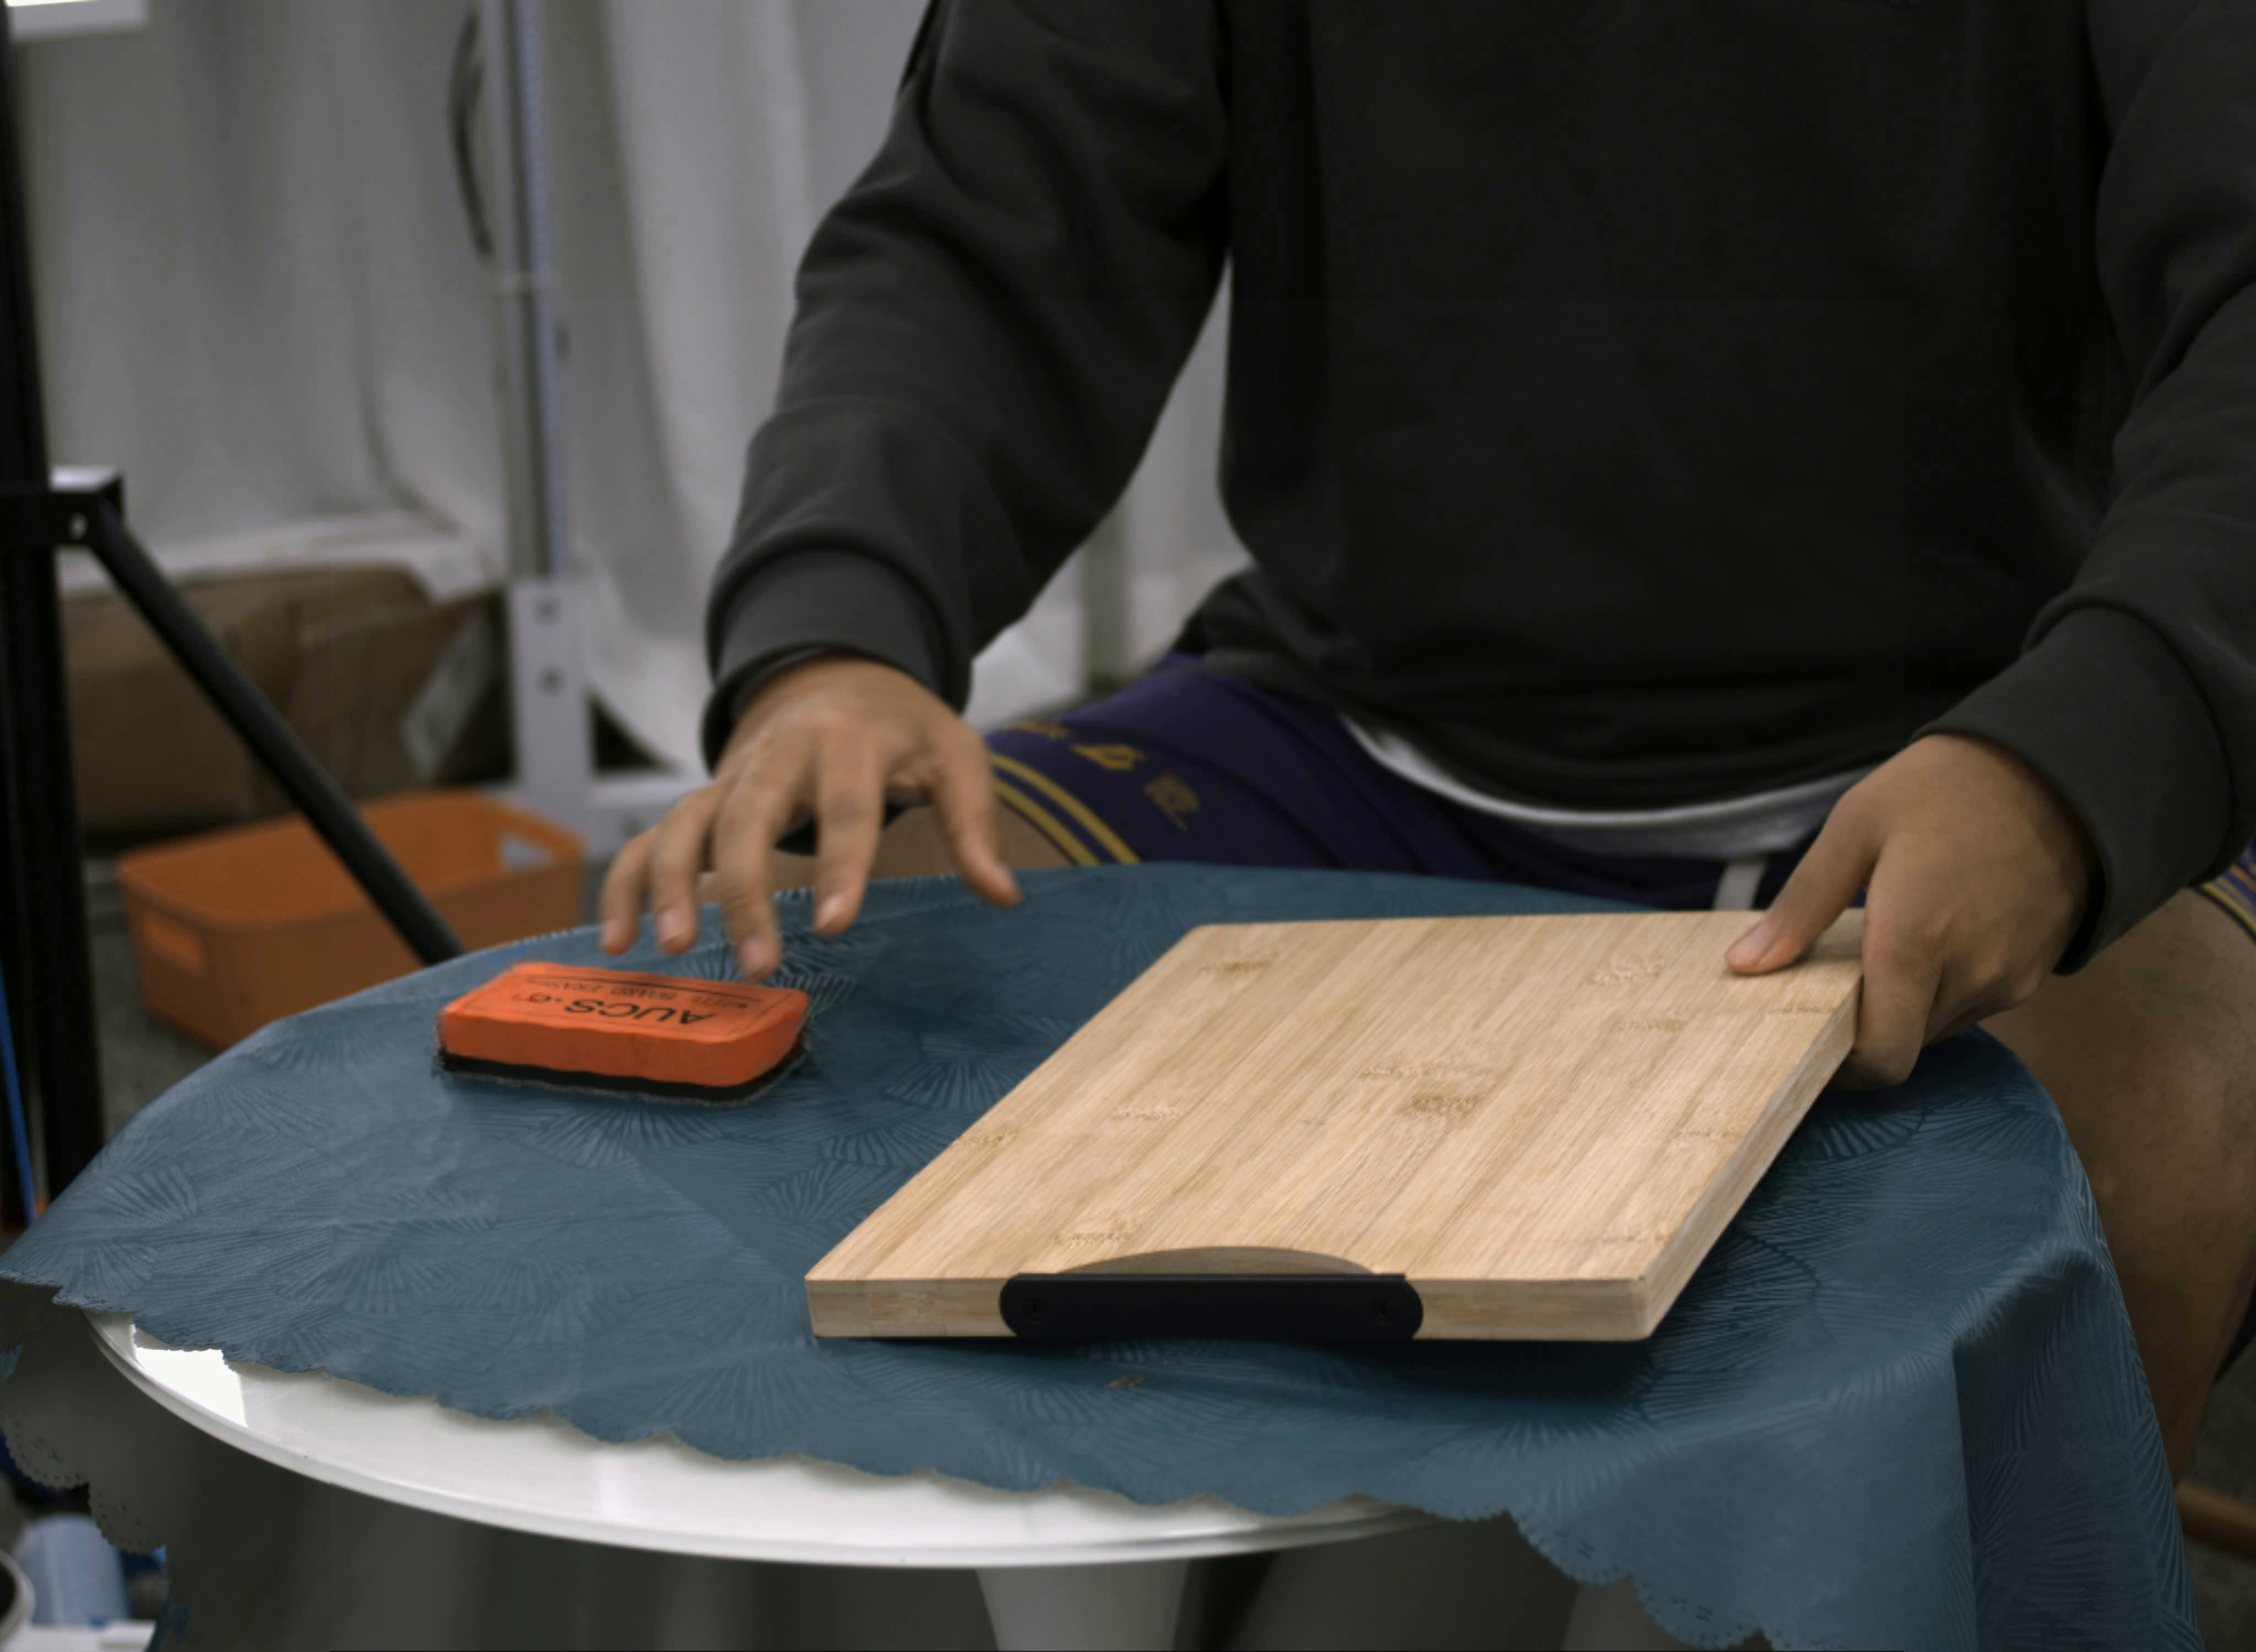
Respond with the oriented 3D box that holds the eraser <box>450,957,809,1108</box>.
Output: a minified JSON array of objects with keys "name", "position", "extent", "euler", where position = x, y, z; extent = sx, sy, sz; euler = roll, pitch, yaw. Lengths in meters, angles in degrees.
[{"name":"eraser","position":[-0.158,0.065,1.693],"extent":[0.110,0.023,0.058],"euler":[6,18,26]}]

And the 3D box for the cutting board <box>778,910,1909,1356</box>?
[{"name":"cutting board","position":[0.076,0.085,1.557],"extent":[0.253,0.023,0.345],"euler":[-3,15,21]}]
